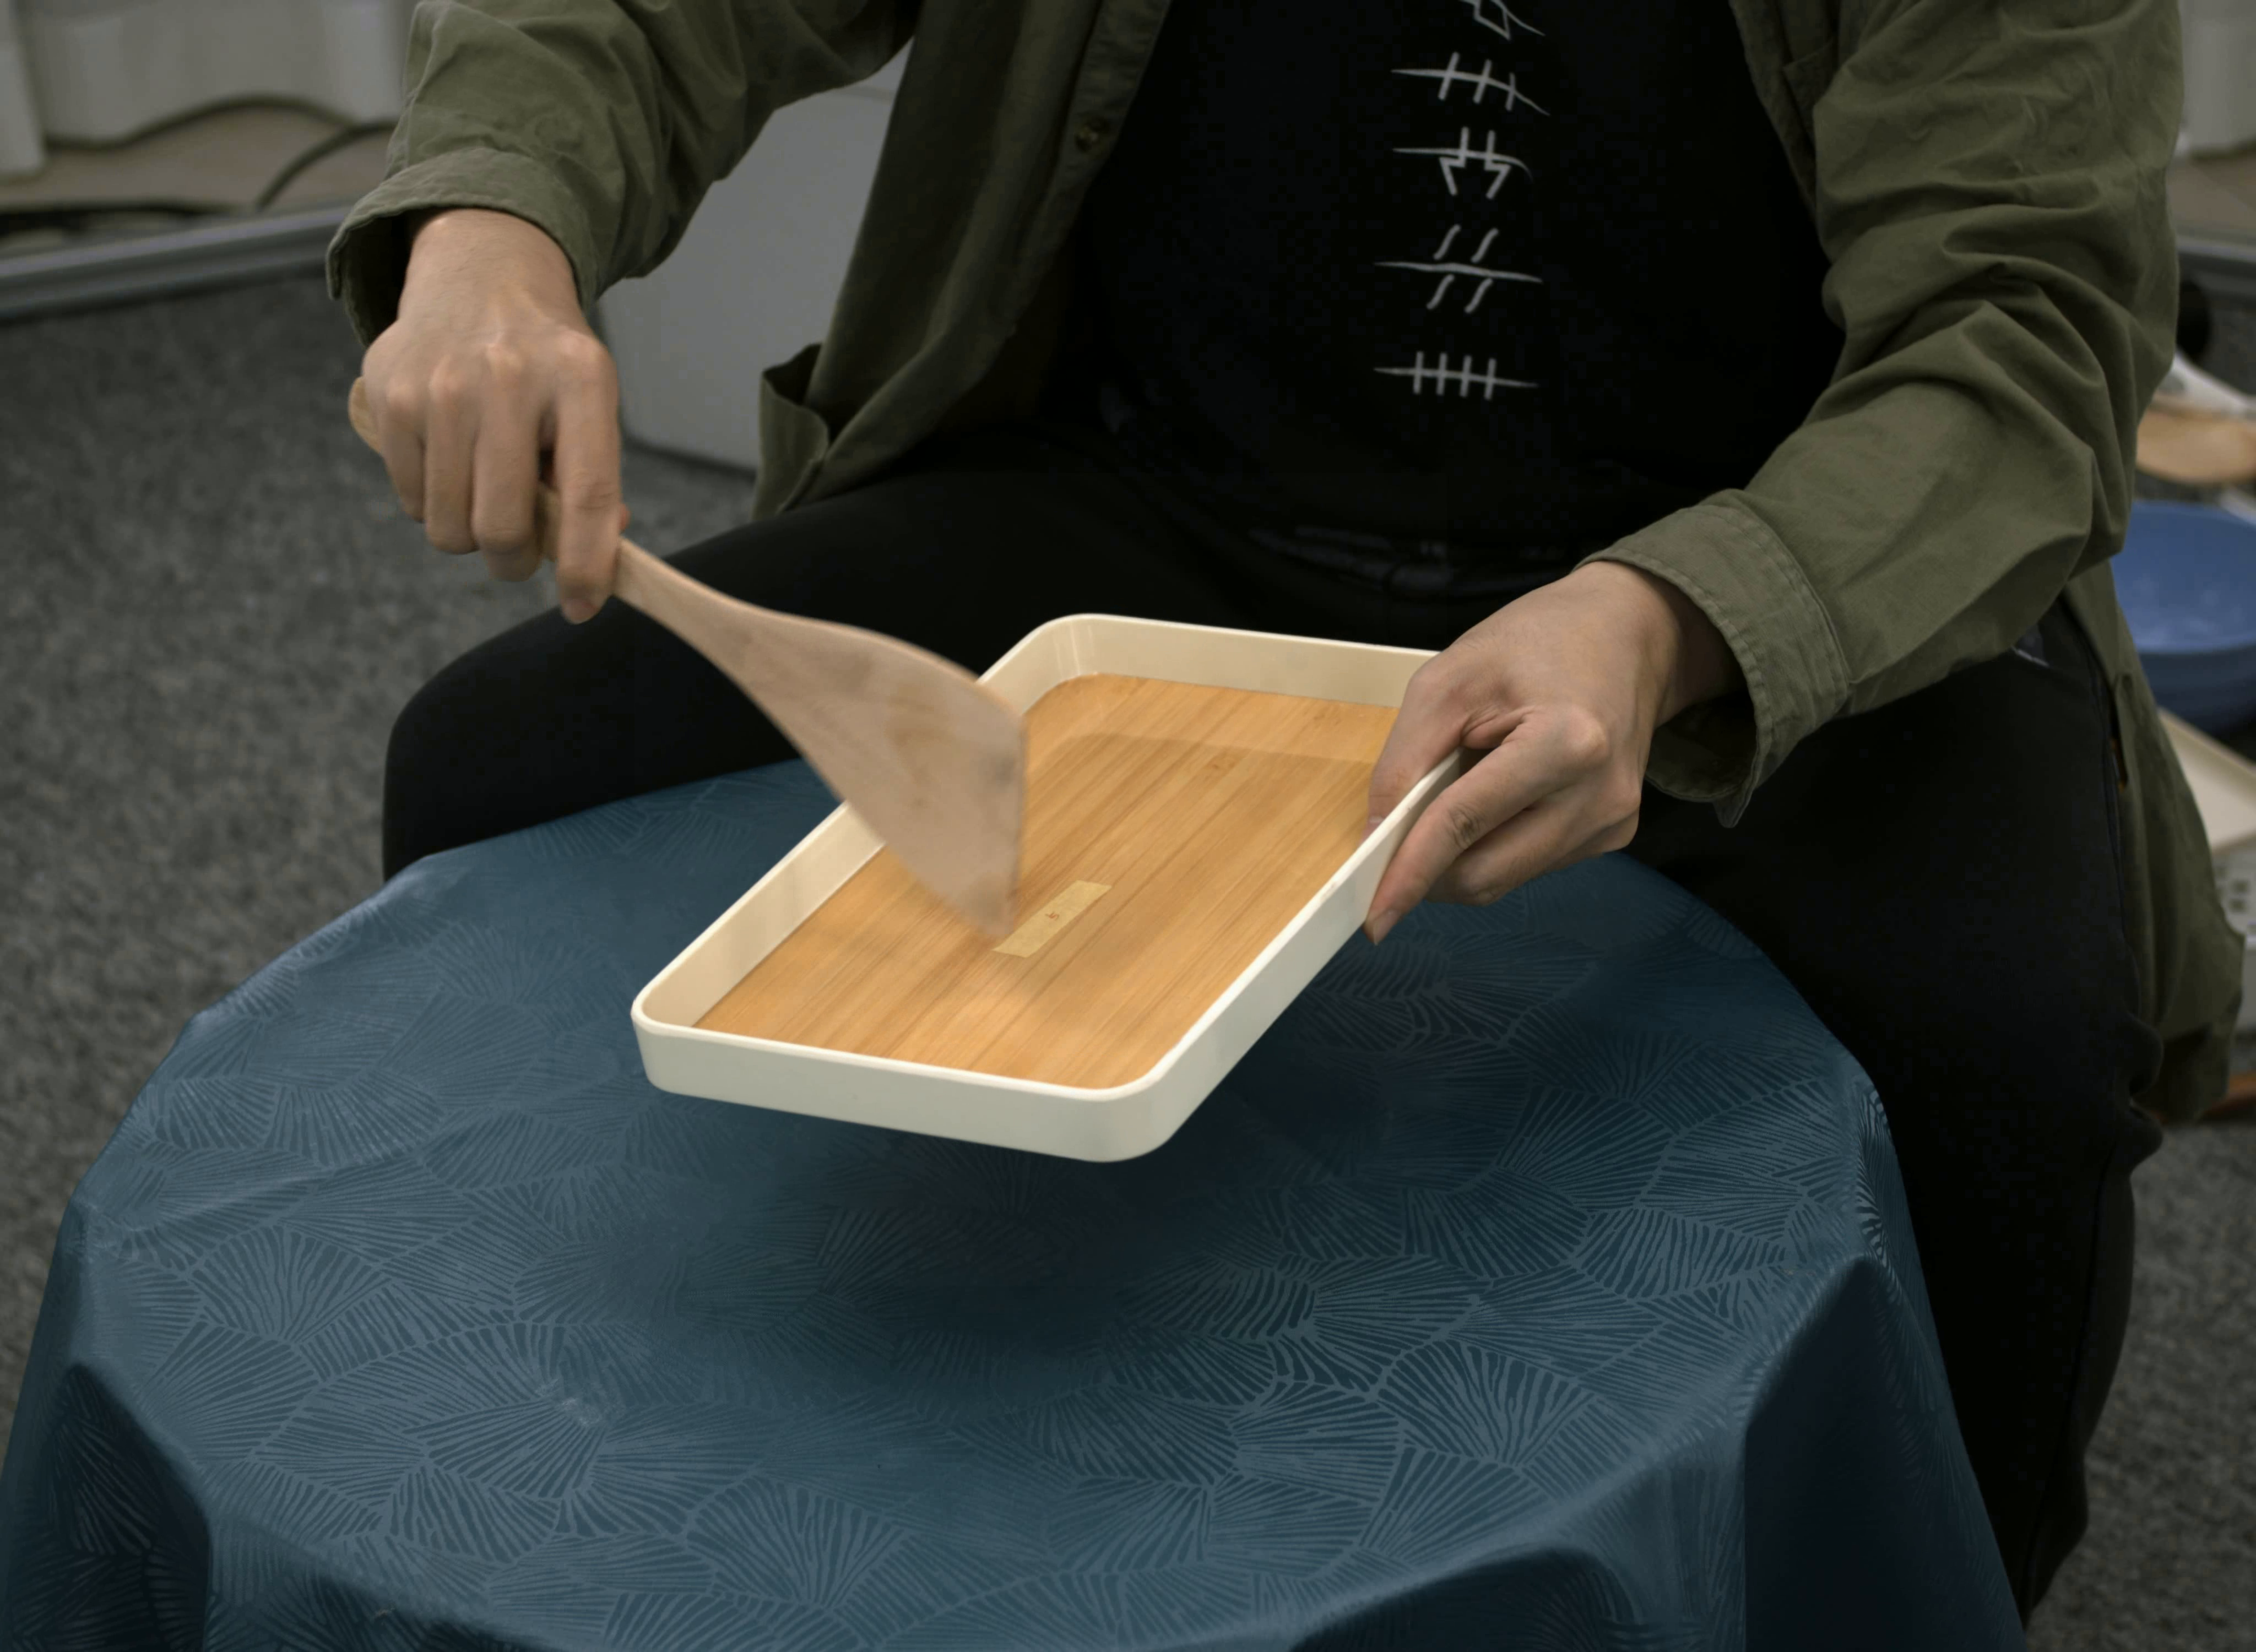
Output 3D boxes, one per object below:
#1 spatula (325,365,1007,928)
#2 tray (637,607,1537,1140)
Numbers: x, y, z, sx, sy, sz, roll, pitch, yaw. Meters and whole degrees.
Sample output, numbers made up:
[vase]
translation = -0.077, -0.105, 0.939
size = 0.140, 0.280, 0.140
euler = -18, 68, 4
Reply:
[spatula]
translation = -0.154, -0.074, 1.841
size = 0.328, 0.079, 0.017
euler = 32, 33, 29
[tray]
translation = -0.008, 0.010, 1.845
size = 0.190, 0.027, 0.305
euler = 8, 30, 28
